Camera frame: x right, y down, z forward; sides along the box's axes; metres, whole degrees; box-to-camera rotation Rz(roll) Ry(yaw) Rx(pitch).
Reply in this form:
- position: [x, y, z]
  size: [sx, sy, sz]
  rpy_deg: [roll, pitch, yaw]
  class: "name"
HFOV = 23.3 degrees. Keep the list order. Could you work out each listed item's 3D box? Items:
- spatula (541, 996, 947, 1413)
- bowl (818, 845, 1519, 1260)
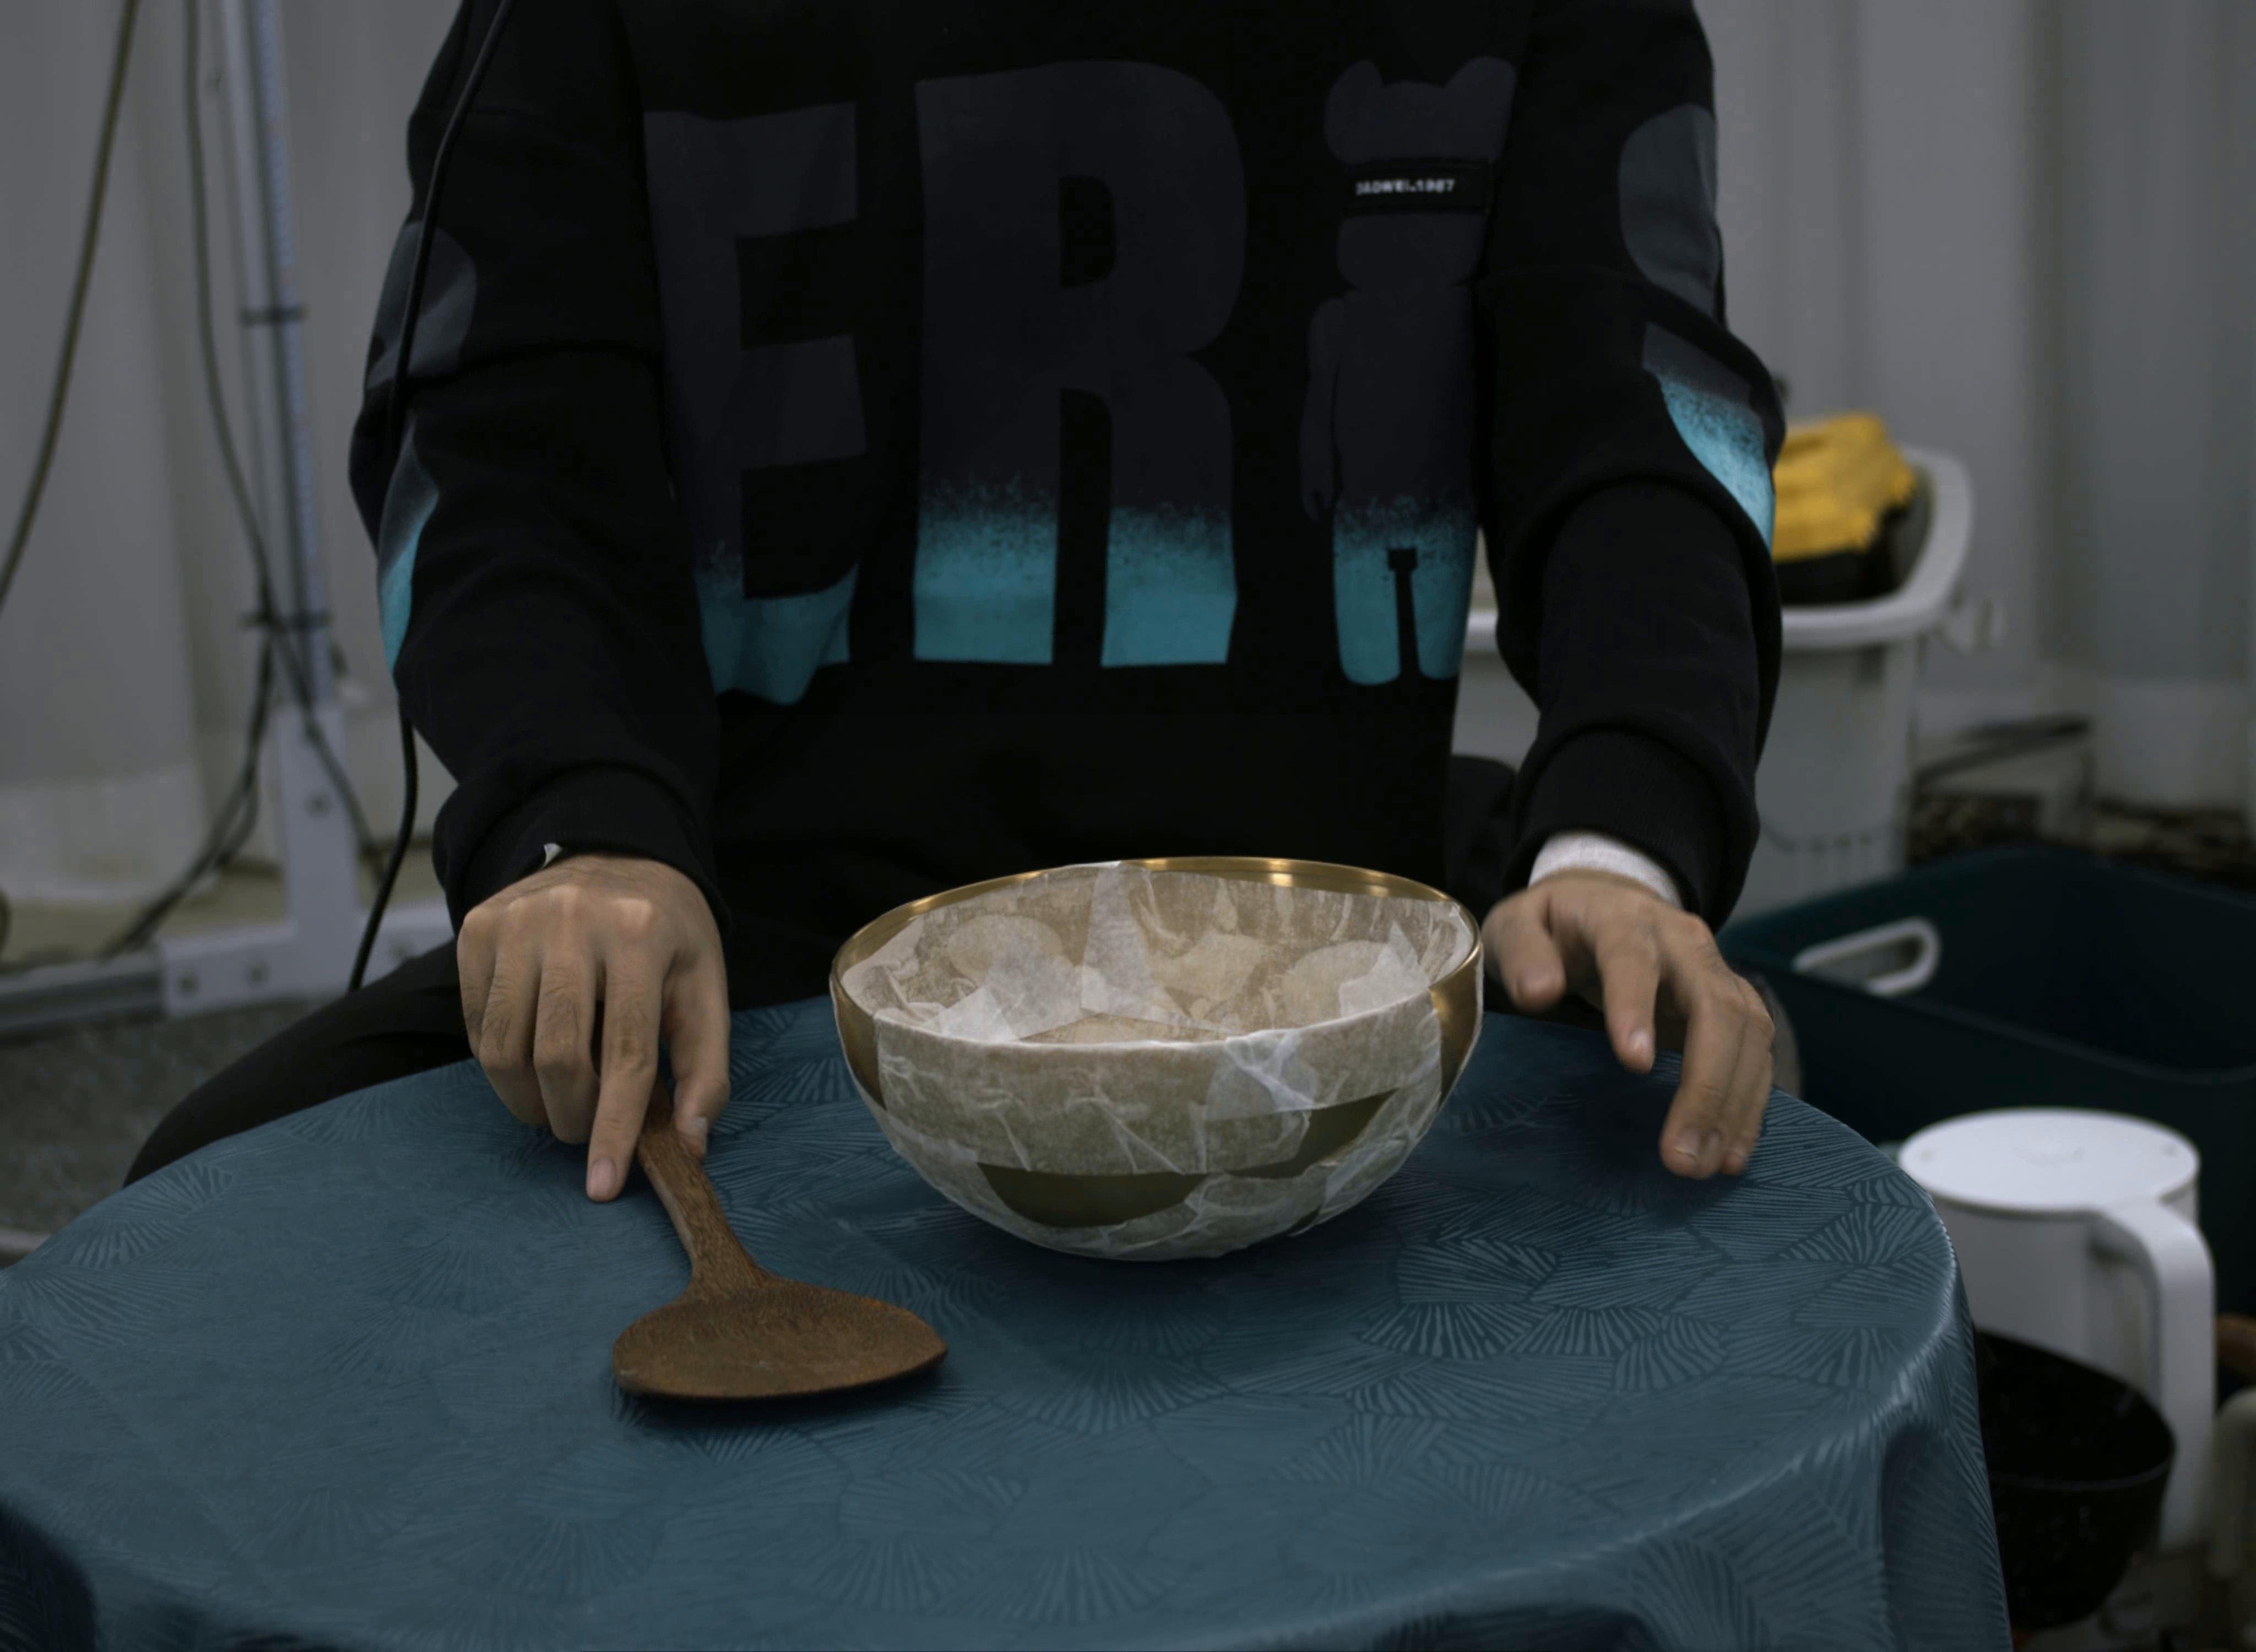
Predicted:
- position: [-0.141, 0.111, 1.710]
  size: [0.095, 0.016, 0.389]
  rpy_deg: [-6, 17, -14]
  class: "spatula"
- position: [0.014, 0.077, 1.671]
  size: [0.214, 0.094, 0.216]
  rpy_deg: [-4, 14, 1]
  class: "bowl"
